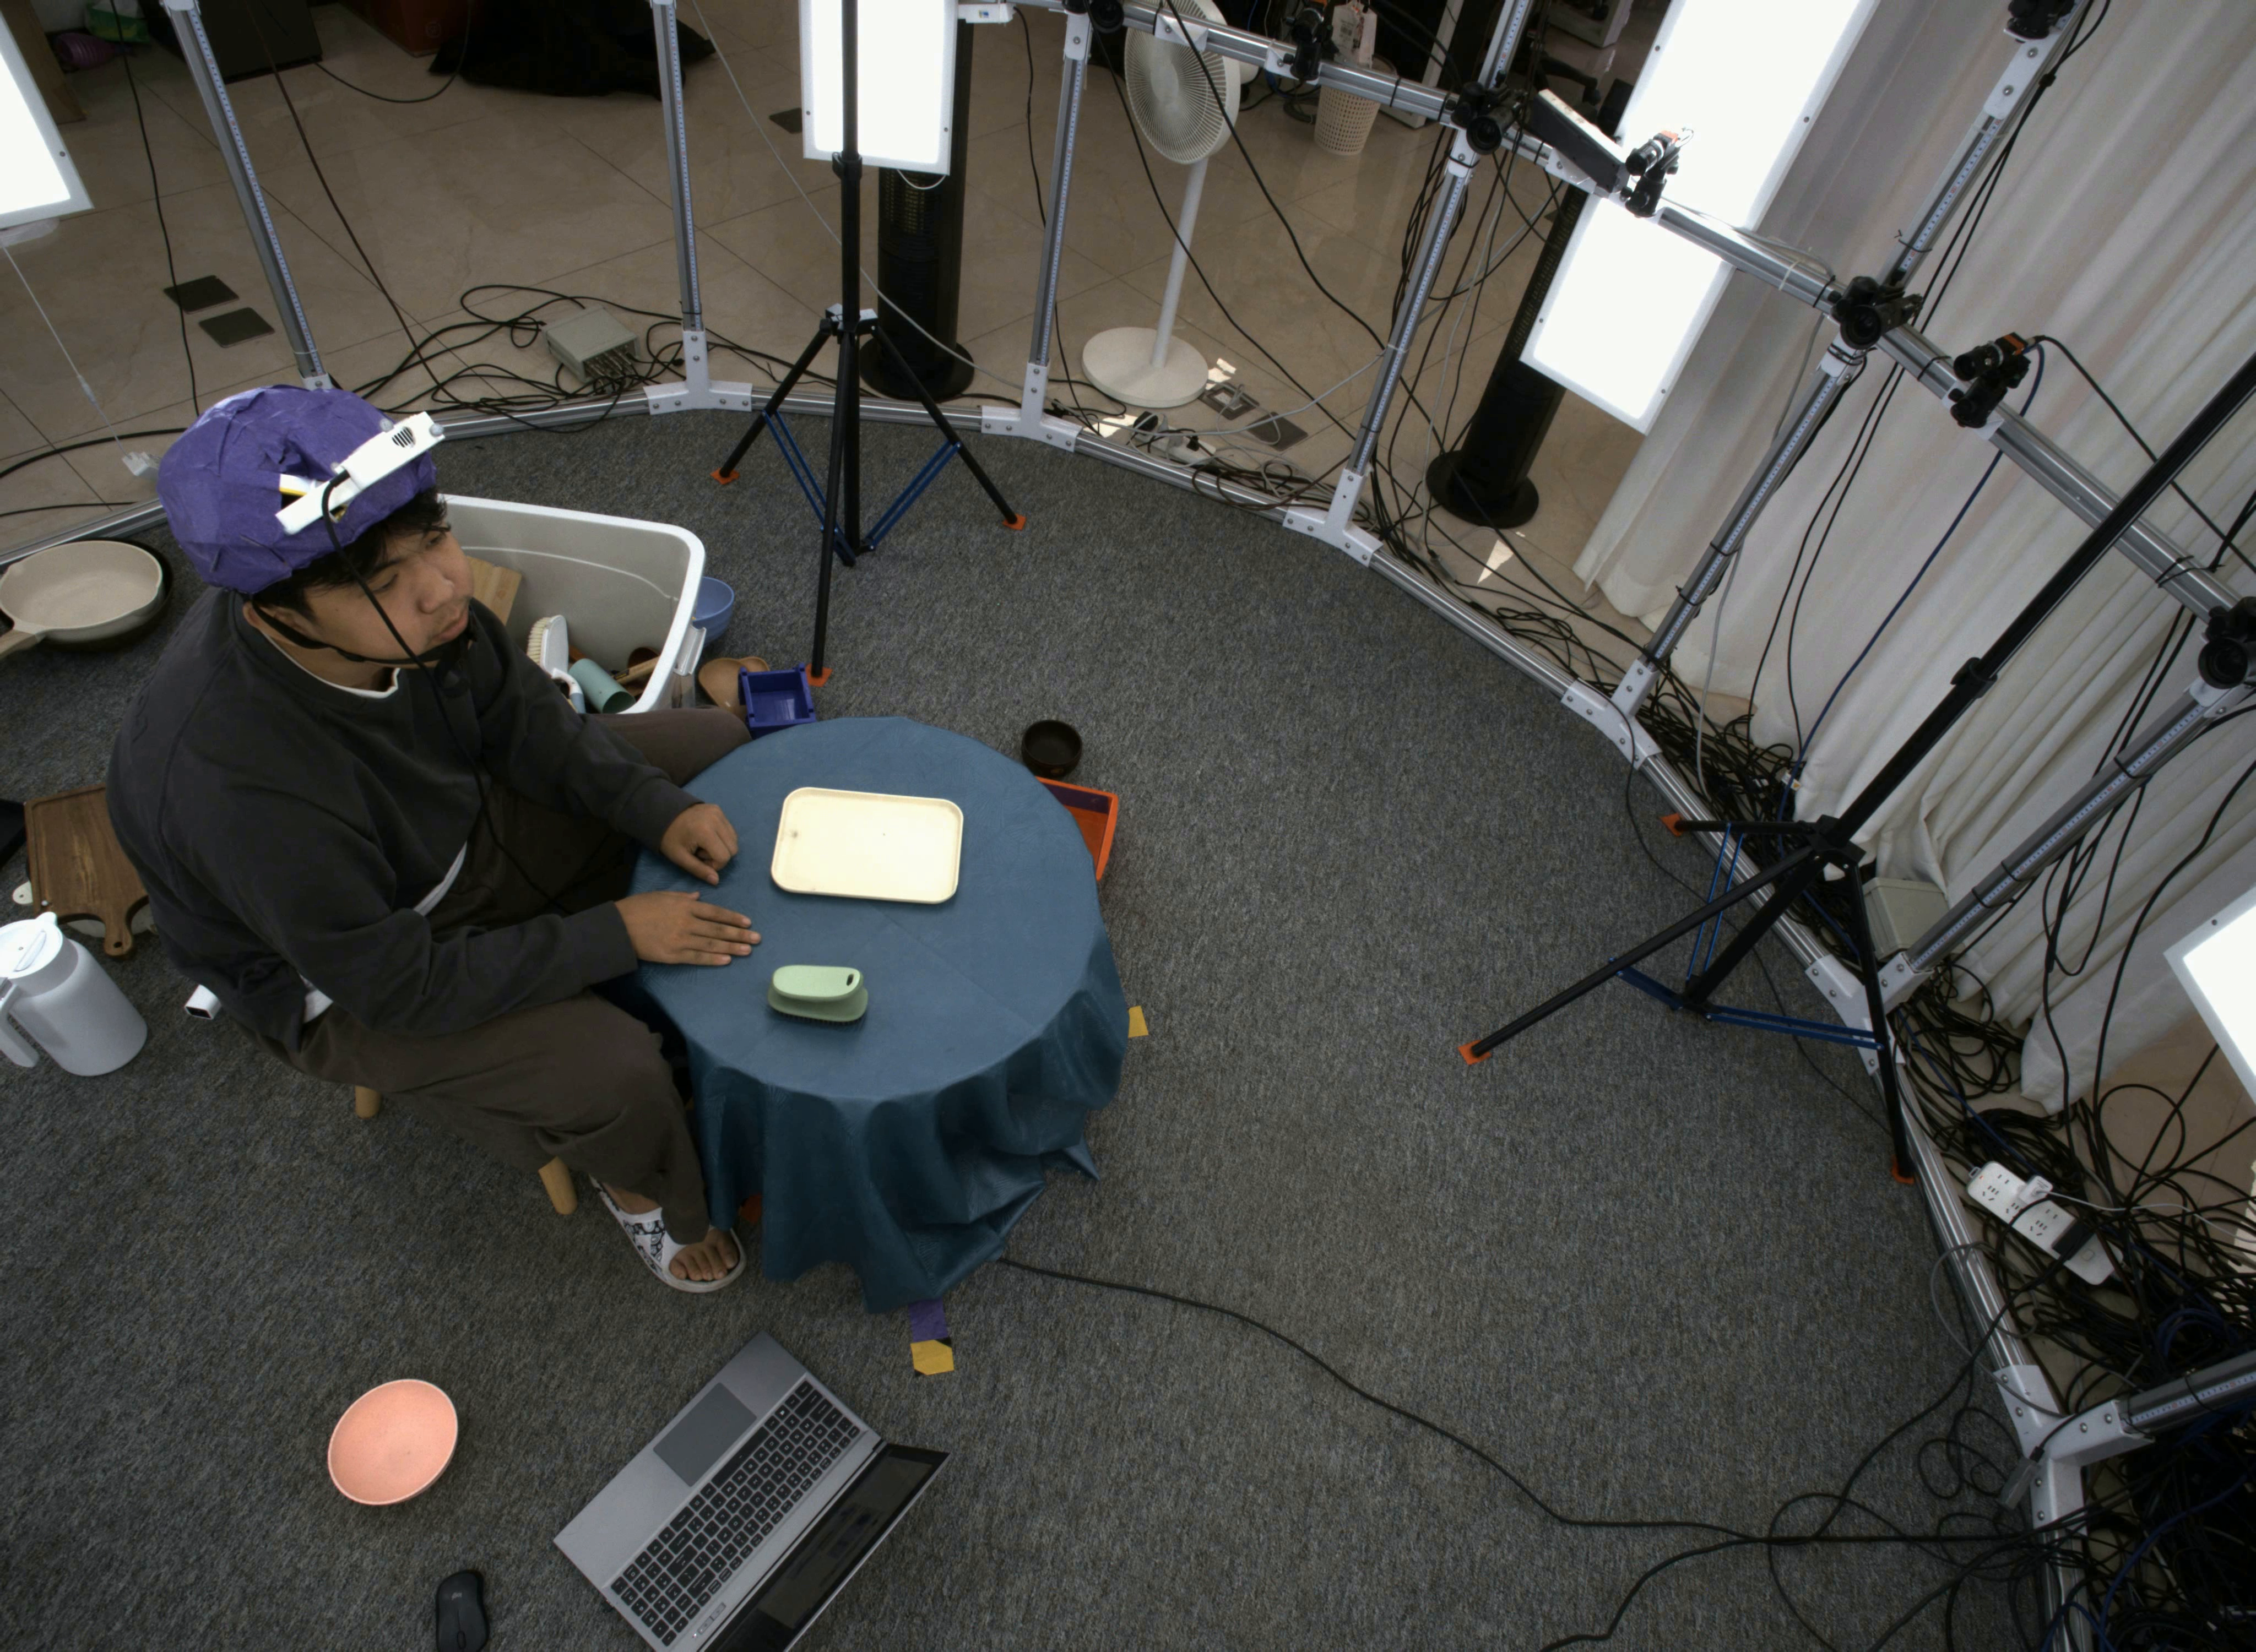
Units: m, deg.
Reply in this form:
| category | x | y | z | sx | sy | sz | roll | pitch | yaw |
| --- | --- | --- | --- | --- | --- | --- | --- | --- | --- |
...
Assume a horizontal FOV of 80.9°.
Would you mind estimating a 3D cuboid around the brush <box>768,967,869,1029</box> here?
| category | x | y | z | sx | sy | sz | roll | pitch | yaw |
| --- | --- | --- | --- | --- | --- | --- | --- | --- | --- |
| brush | -0.368 | 0.201 | 1.549 | 0.121 | 0.078 | 0.058 | 0 | 51 | 4 |

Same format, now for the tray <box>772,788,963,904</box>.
| category | x | y | z | sx | sy | sz | roll | pitch | yaw |
| --- | --- | --- | --- | --- | --- | --- | --- | --- | --- |
| tray | -0.339 | 0.026 | 1.710 | 0.239 | 0.018 | 0.168 | 6 | 52 | -10 |
